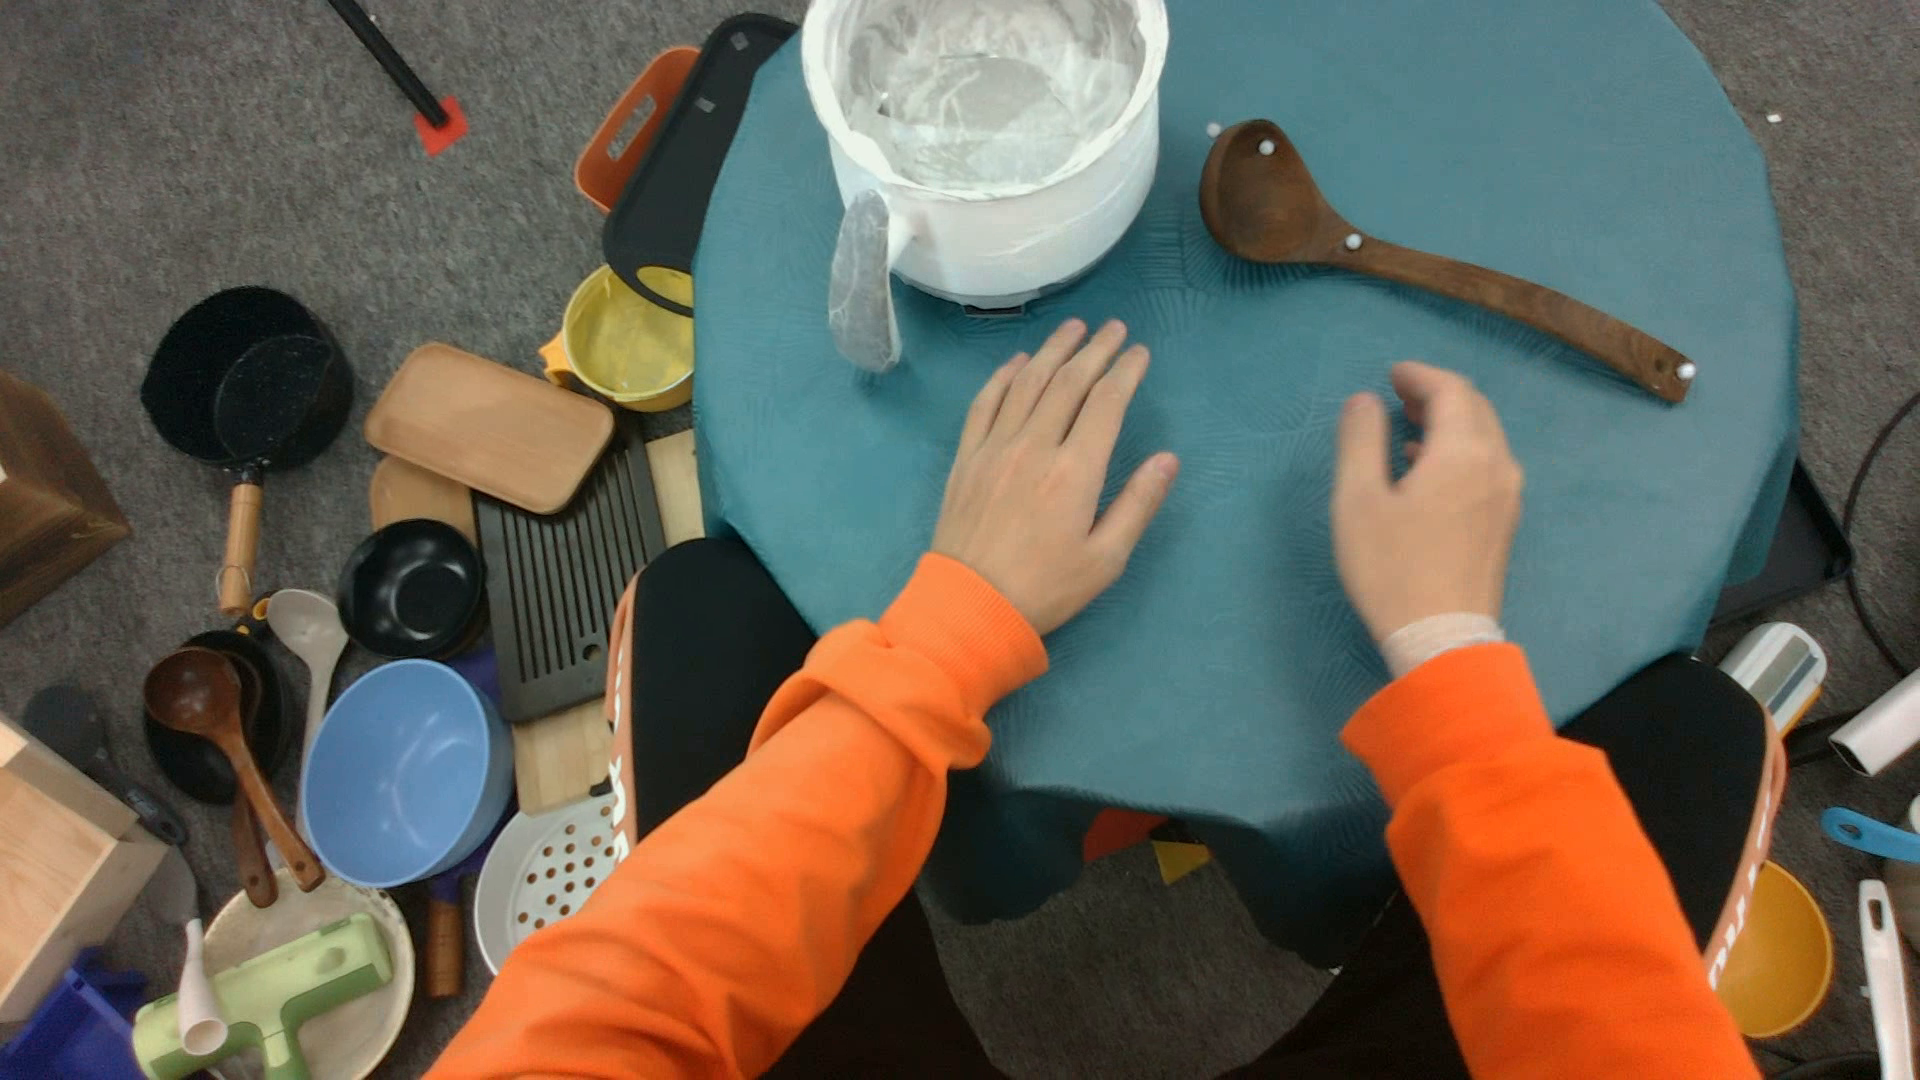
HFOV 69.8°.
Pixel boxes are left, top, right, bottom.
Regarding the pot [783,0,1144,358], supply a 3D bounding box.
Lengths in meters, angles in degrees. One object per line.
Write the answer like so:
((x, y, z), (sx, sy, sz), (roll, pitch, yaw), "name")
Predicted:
((-0.007, -0.210, 0.722), (0.178, 0.136, 0.234), (27, 78, 12), "pot")

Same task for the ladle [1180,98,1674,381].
((0.246, -0.154, 0.719), (0.274, 0.071, 0.076), (24, 80, 12), "ladle")
